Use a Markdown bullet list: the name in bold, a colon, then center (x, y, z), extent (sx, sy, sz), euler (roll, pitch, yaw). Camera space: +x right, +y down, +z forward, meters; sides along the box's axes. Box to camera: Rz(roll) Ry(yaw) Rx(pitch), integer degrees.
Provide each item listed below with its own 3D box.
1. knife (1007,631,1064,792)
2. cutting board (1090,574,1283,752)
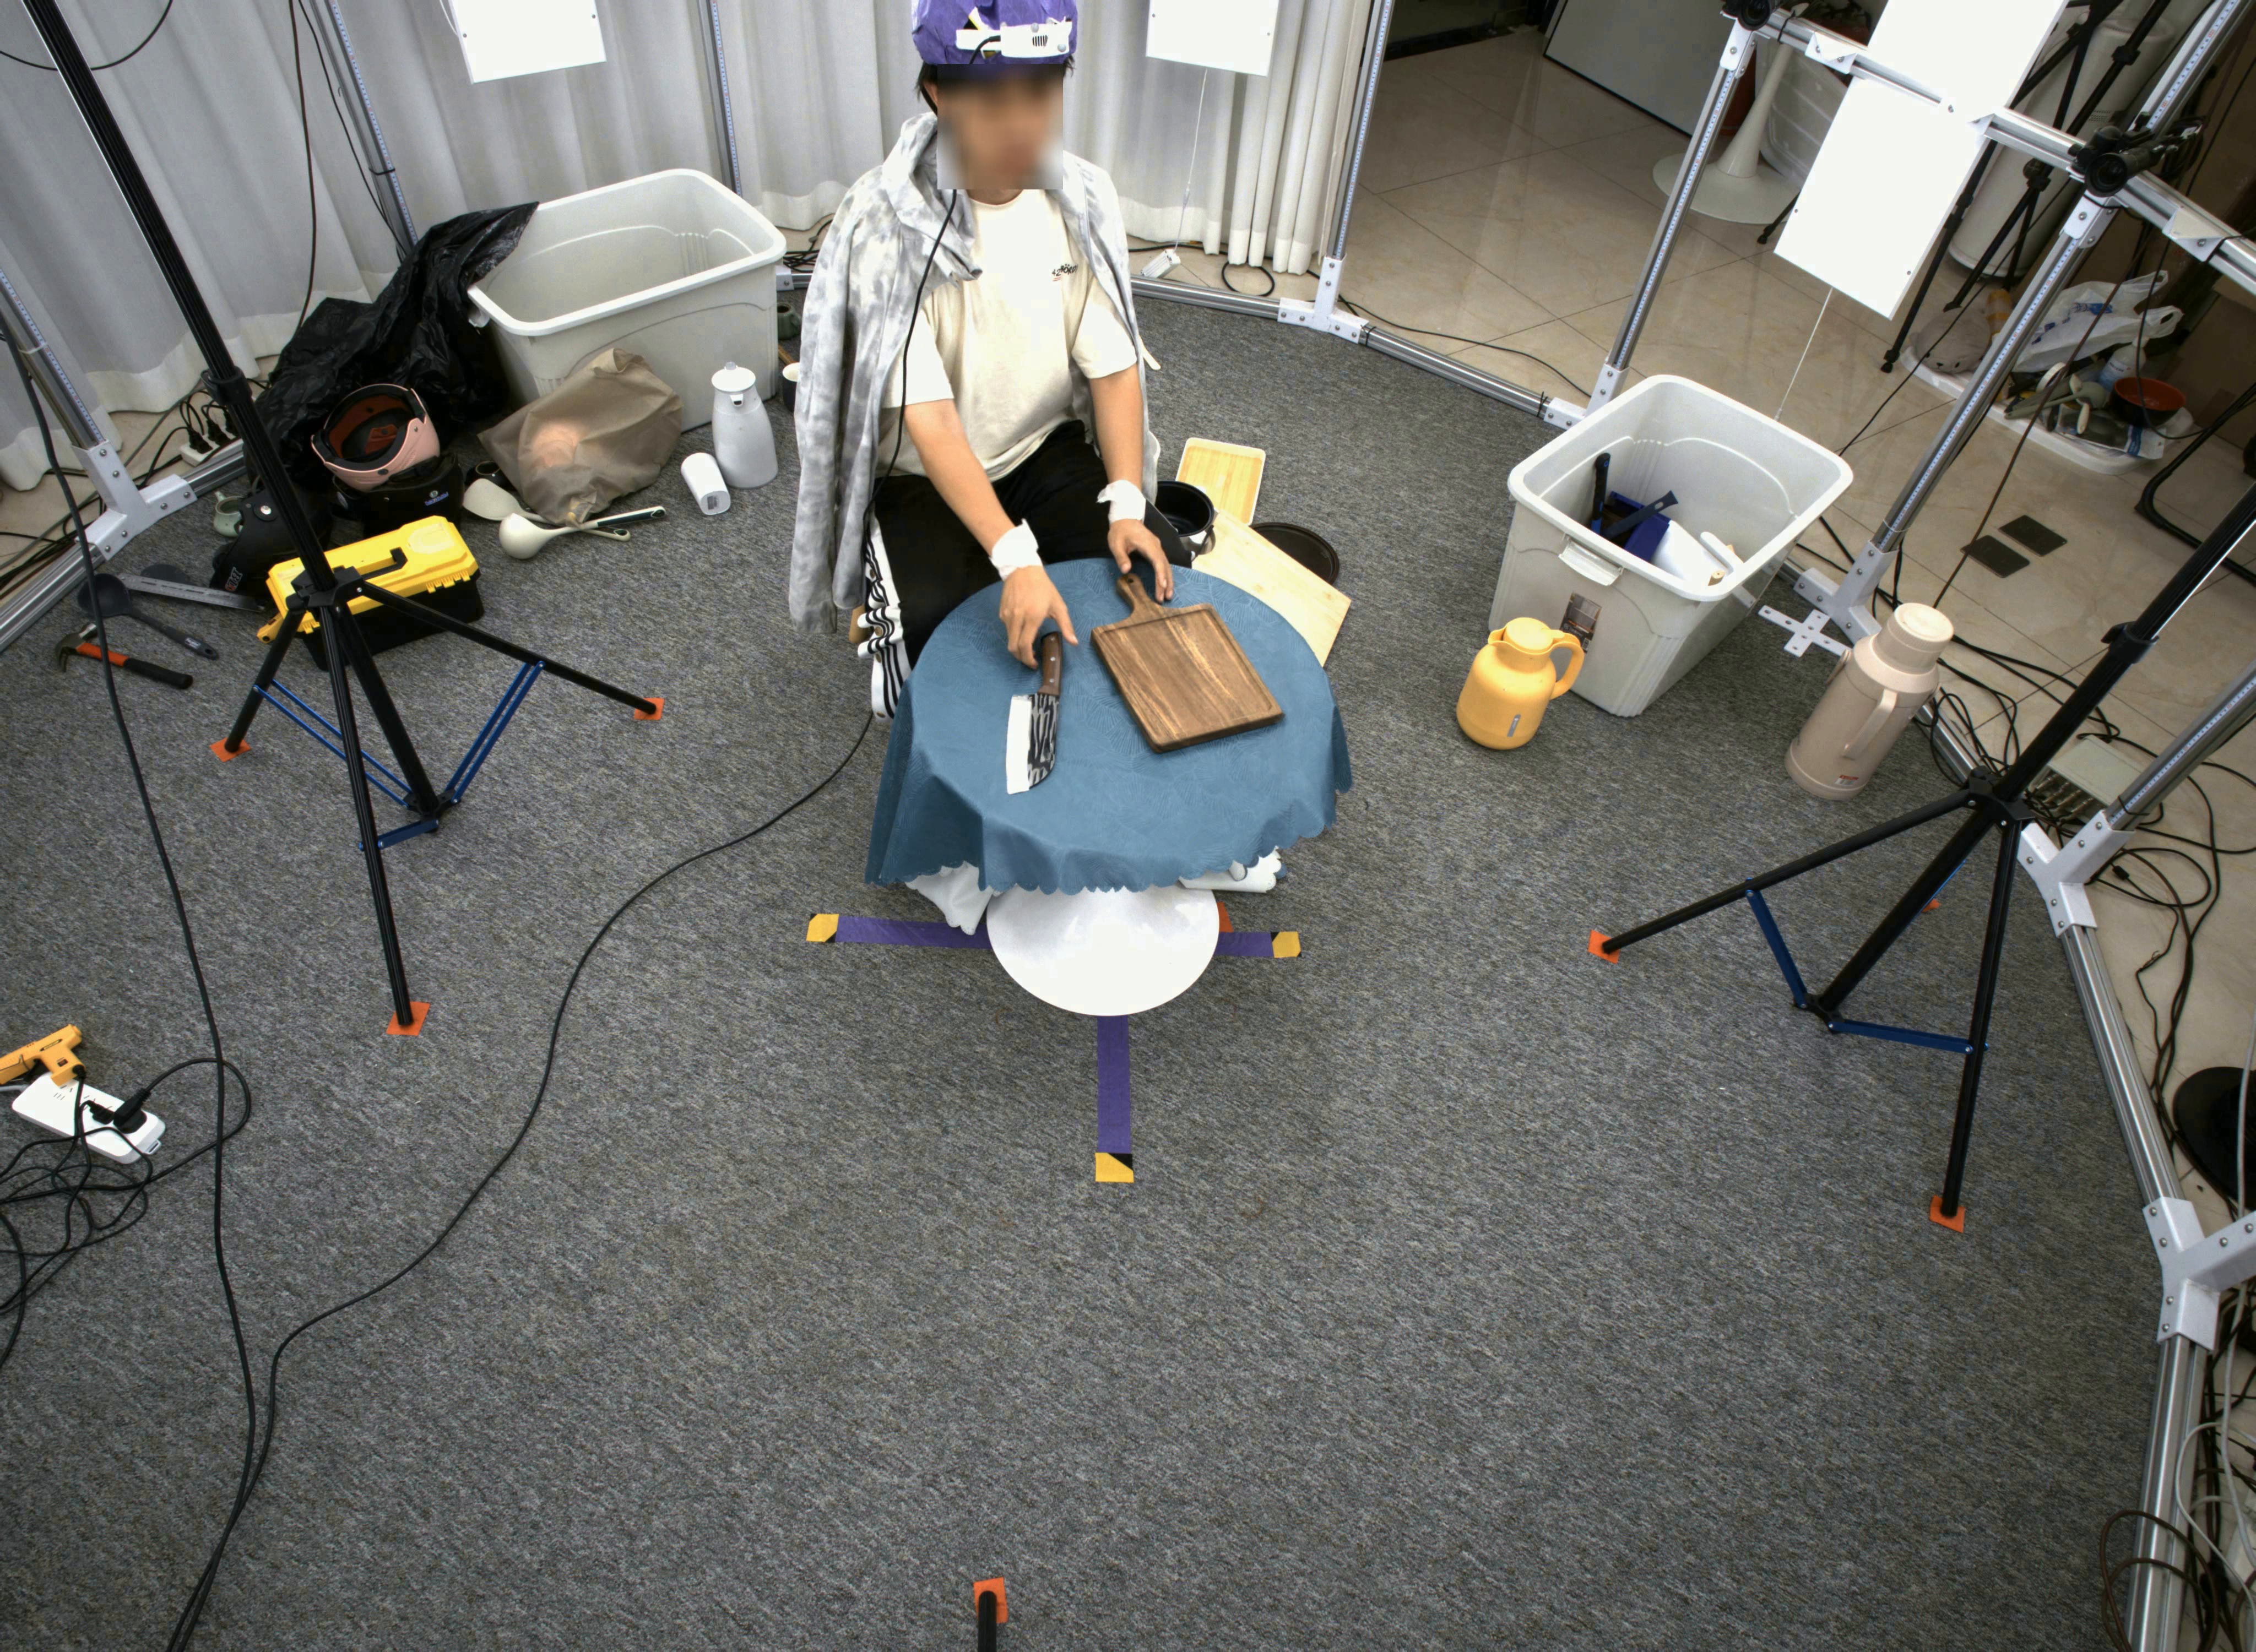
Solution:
- **knife**: center (-0.128, -0.163, 1.781), extent (0.068, 0.023, 0.307), euler (2, 51, 2)
- **cutting board**: center (0.062, -0.256, 1.874), extent (0.201, 0.022, 0.360), euler (-15, 51, -17)
